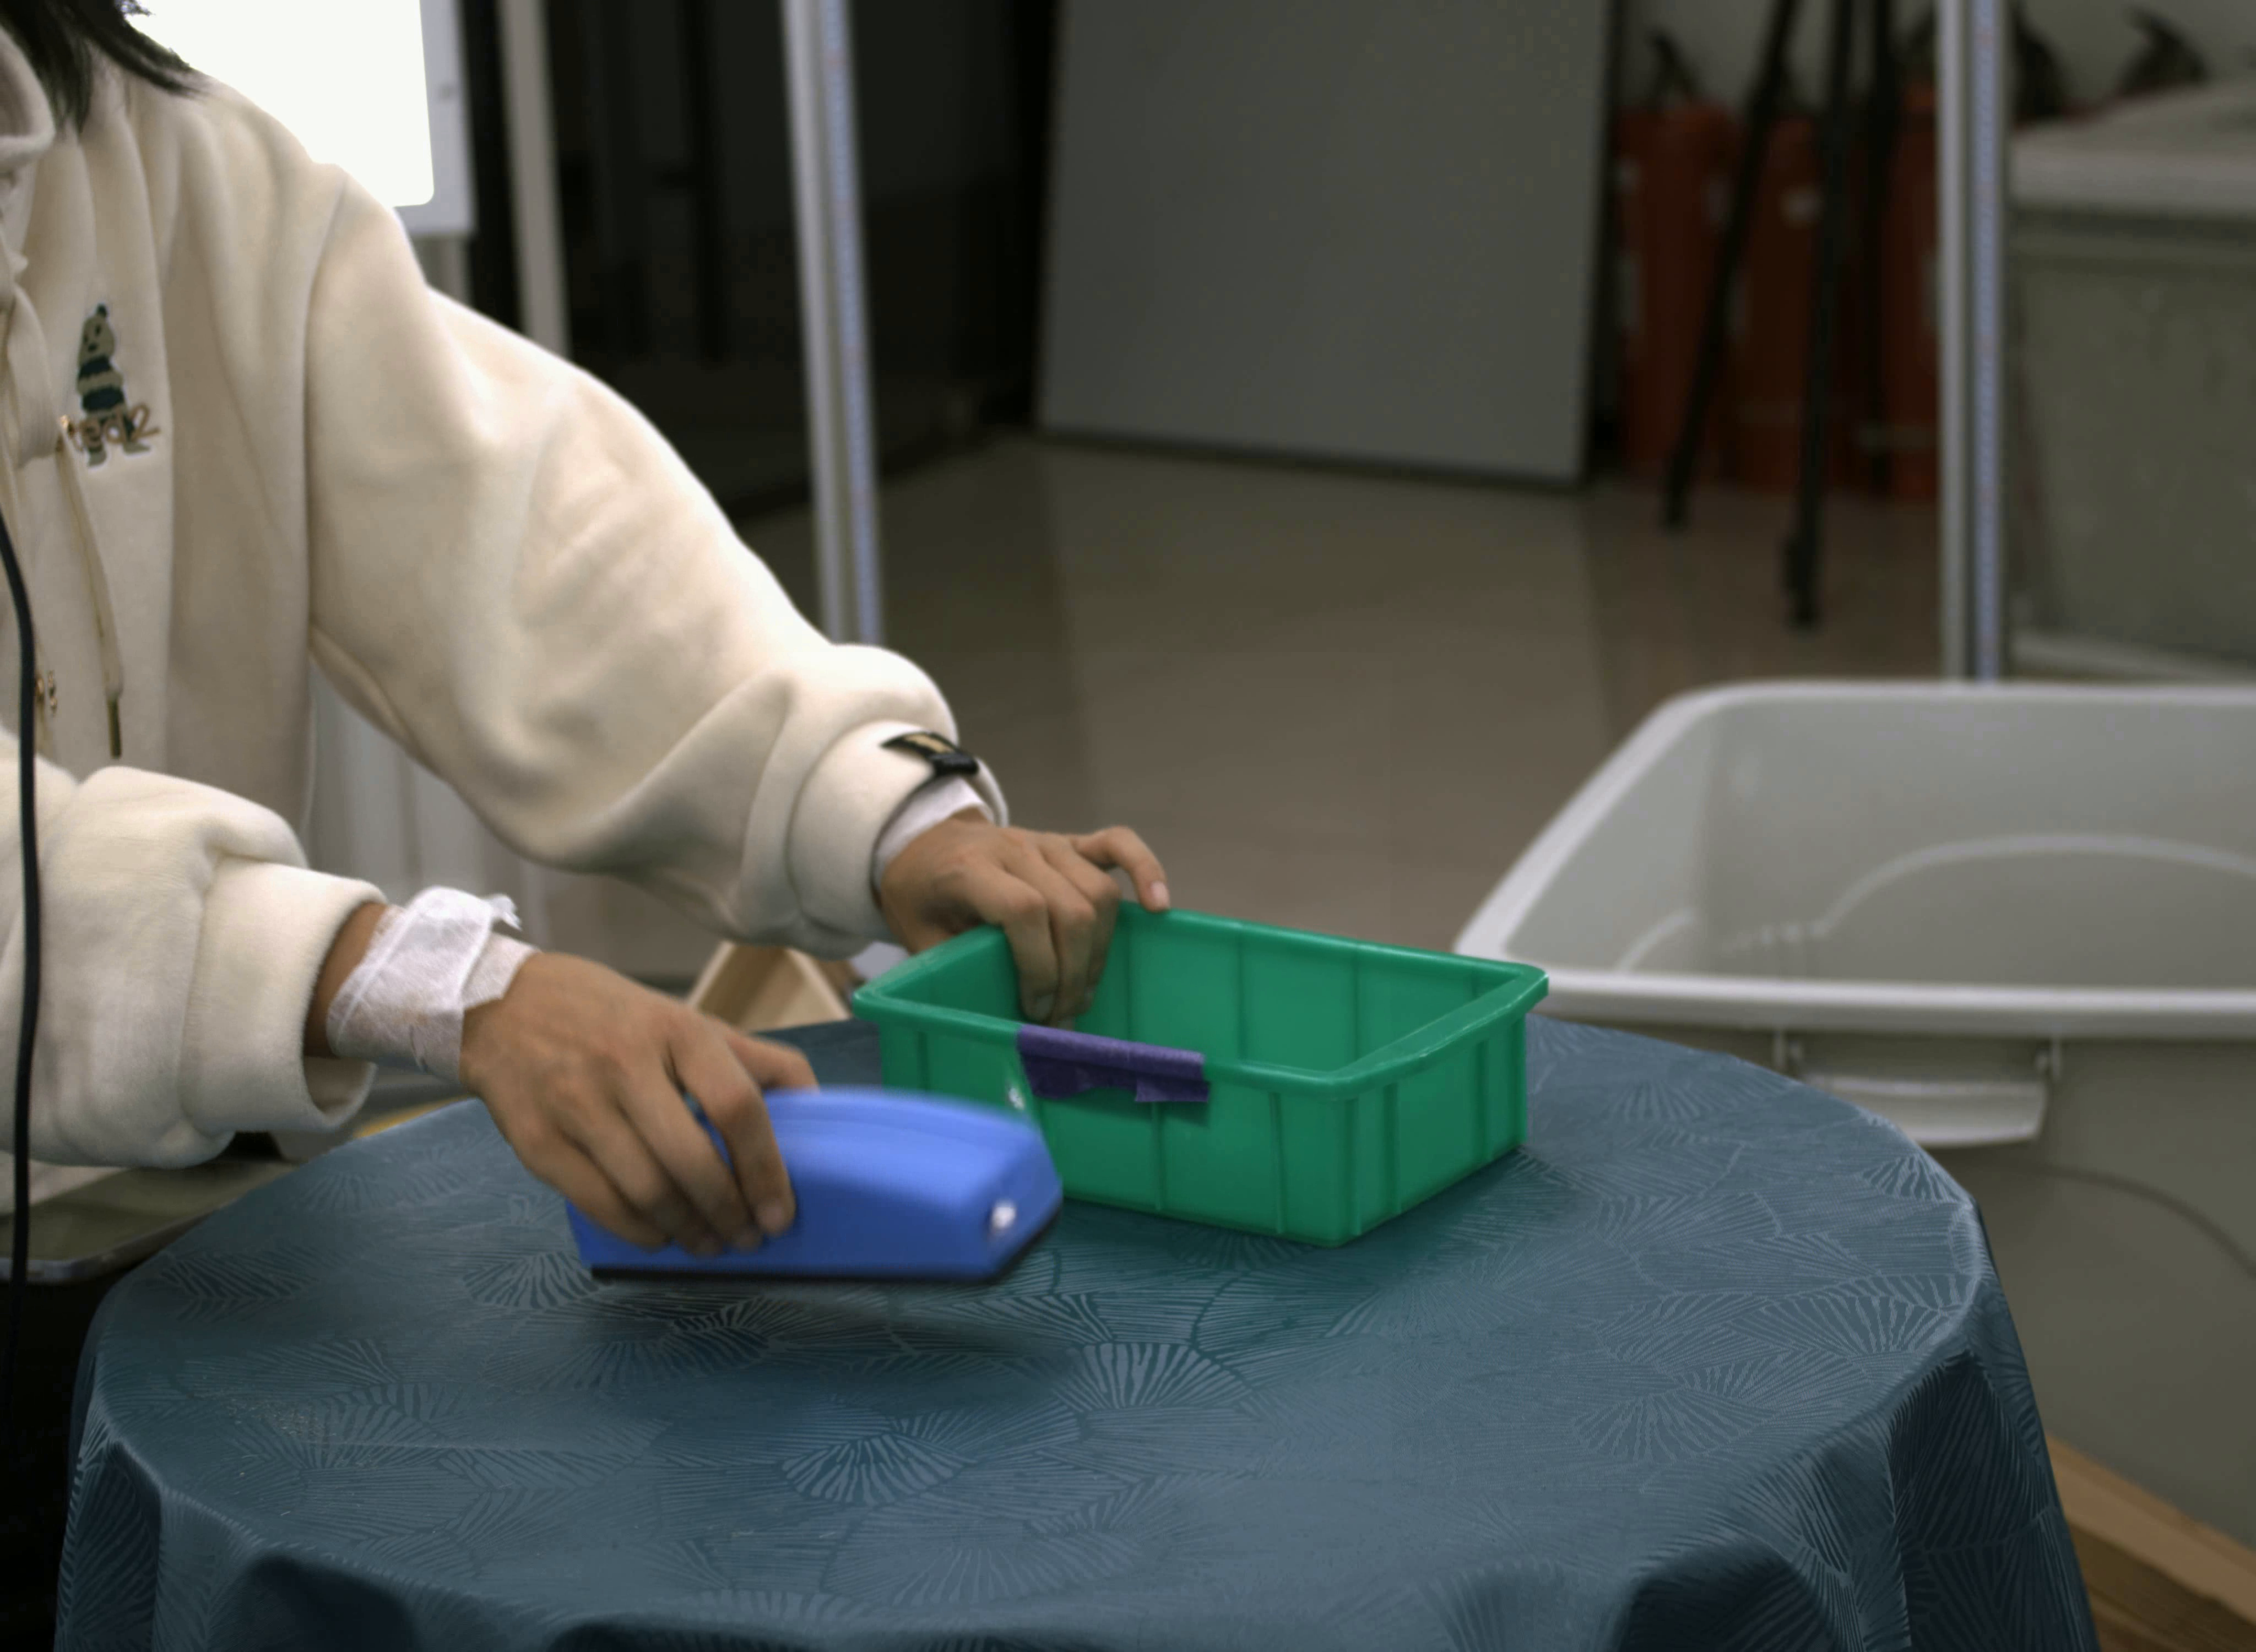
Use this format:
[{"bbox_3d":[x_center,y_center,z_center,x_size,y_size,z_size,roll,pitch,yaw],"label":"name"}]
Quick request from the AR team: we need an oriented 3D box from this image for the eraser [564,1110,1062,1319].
[{"bbox_3d":[-0.099,0.117,1.650,0.163,0.048,0.053,-1,25,34],"label":"eraser"}]

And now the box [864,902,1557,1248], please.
[{"bbox_3d":[0.029,0.082,1.787,0.212,0.066,0.136,7,20,34],"label":"box"}]
